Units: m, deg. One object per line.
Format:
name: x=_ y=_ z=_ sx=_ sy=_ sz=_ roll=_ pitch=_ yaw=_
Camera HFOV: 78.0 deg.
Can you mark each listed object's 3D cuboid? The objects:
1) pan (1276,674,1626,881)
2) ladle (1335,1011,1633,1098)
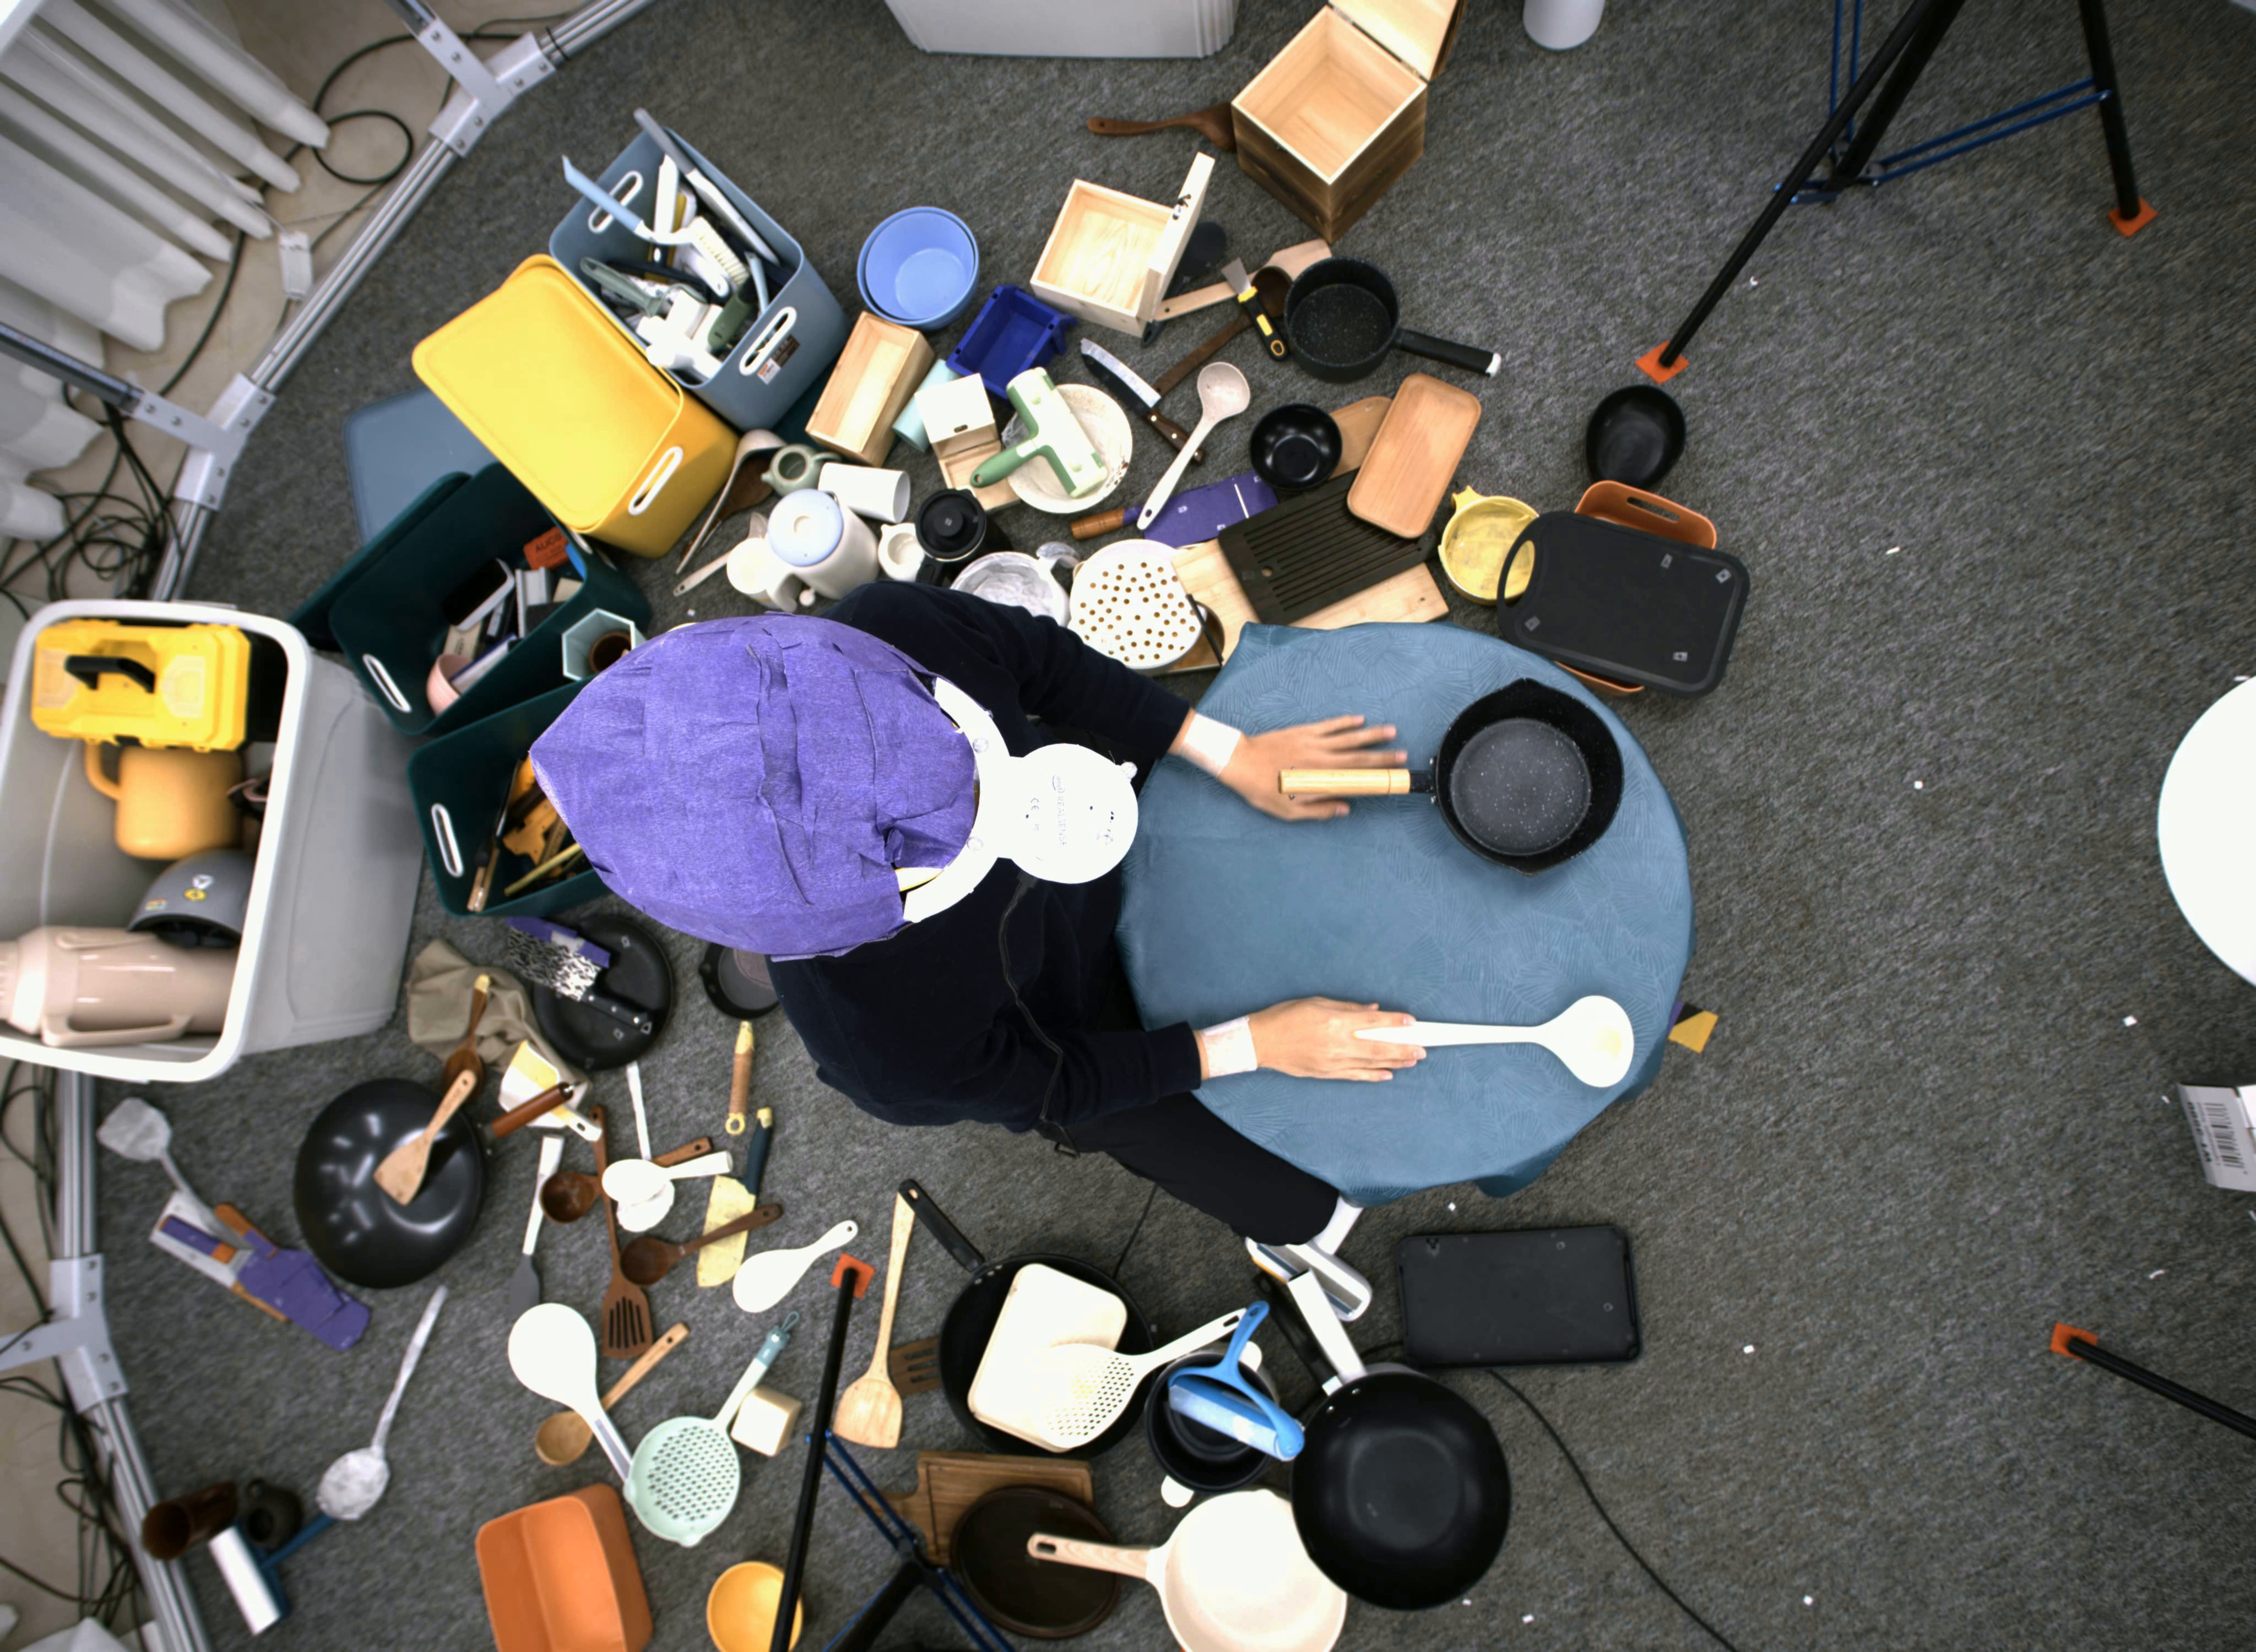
pan: x=0.324 y=-0.045 z=1.401 sx=0.344 sy=0.108 sz=0.207 roll=-2 pitch=87 yaw=9
ladle: x=0.357 y=0.222 z=1.404 sx=0.294 sy=0.069 sz=0.091 roll=1 pitch=101 yaw=11
